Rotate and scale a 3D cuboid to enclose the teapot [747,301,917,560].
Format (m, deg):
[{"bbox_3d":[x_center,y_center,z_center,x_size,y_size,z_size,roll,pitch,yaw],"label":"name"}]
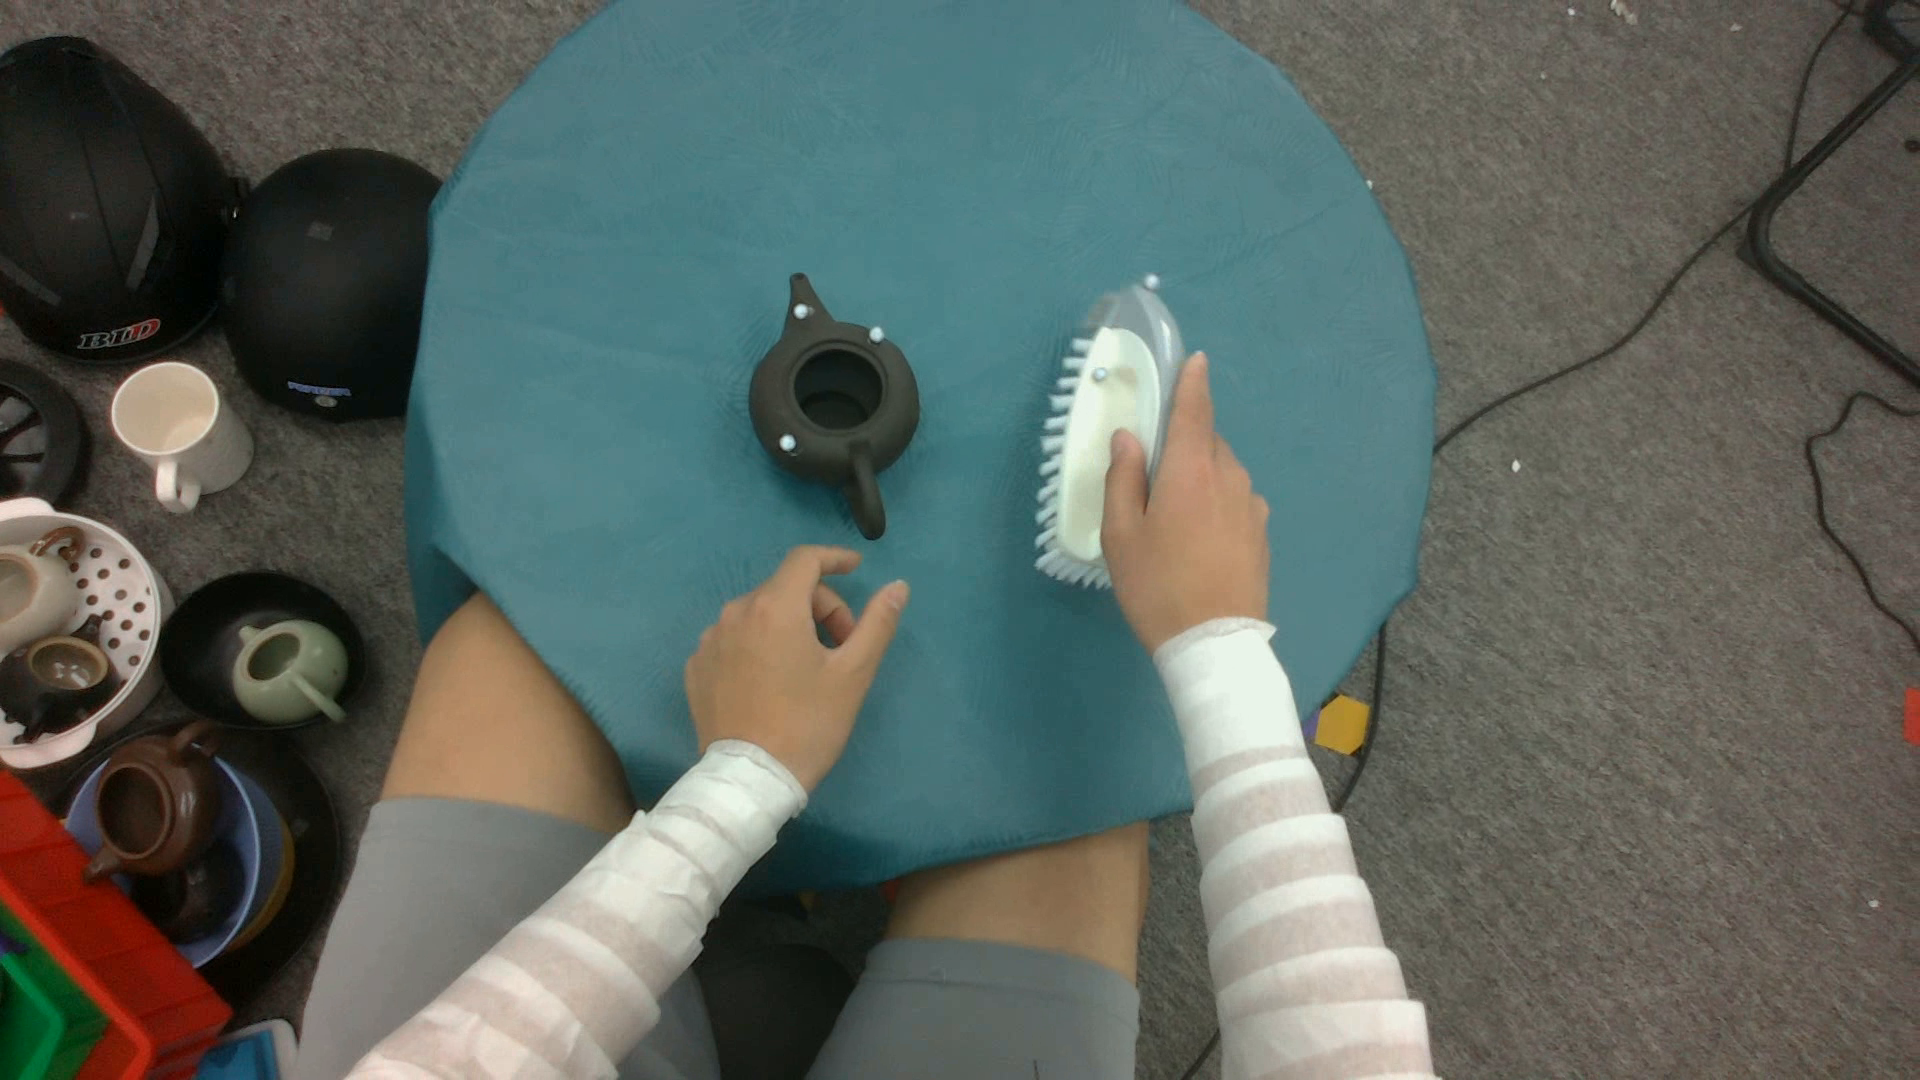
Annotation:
[{"bbox_3d":[-0.070,-0.059,0.762,0.092,0.064,0.154,-16,72,-14],"label":"teapot"}]

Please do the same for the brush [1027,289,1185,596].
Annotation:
[{"bbox_3d":[0.083,-0.063,0.748,0.061,0.094,0.176,13,71,-29],"label":"brush"}]
